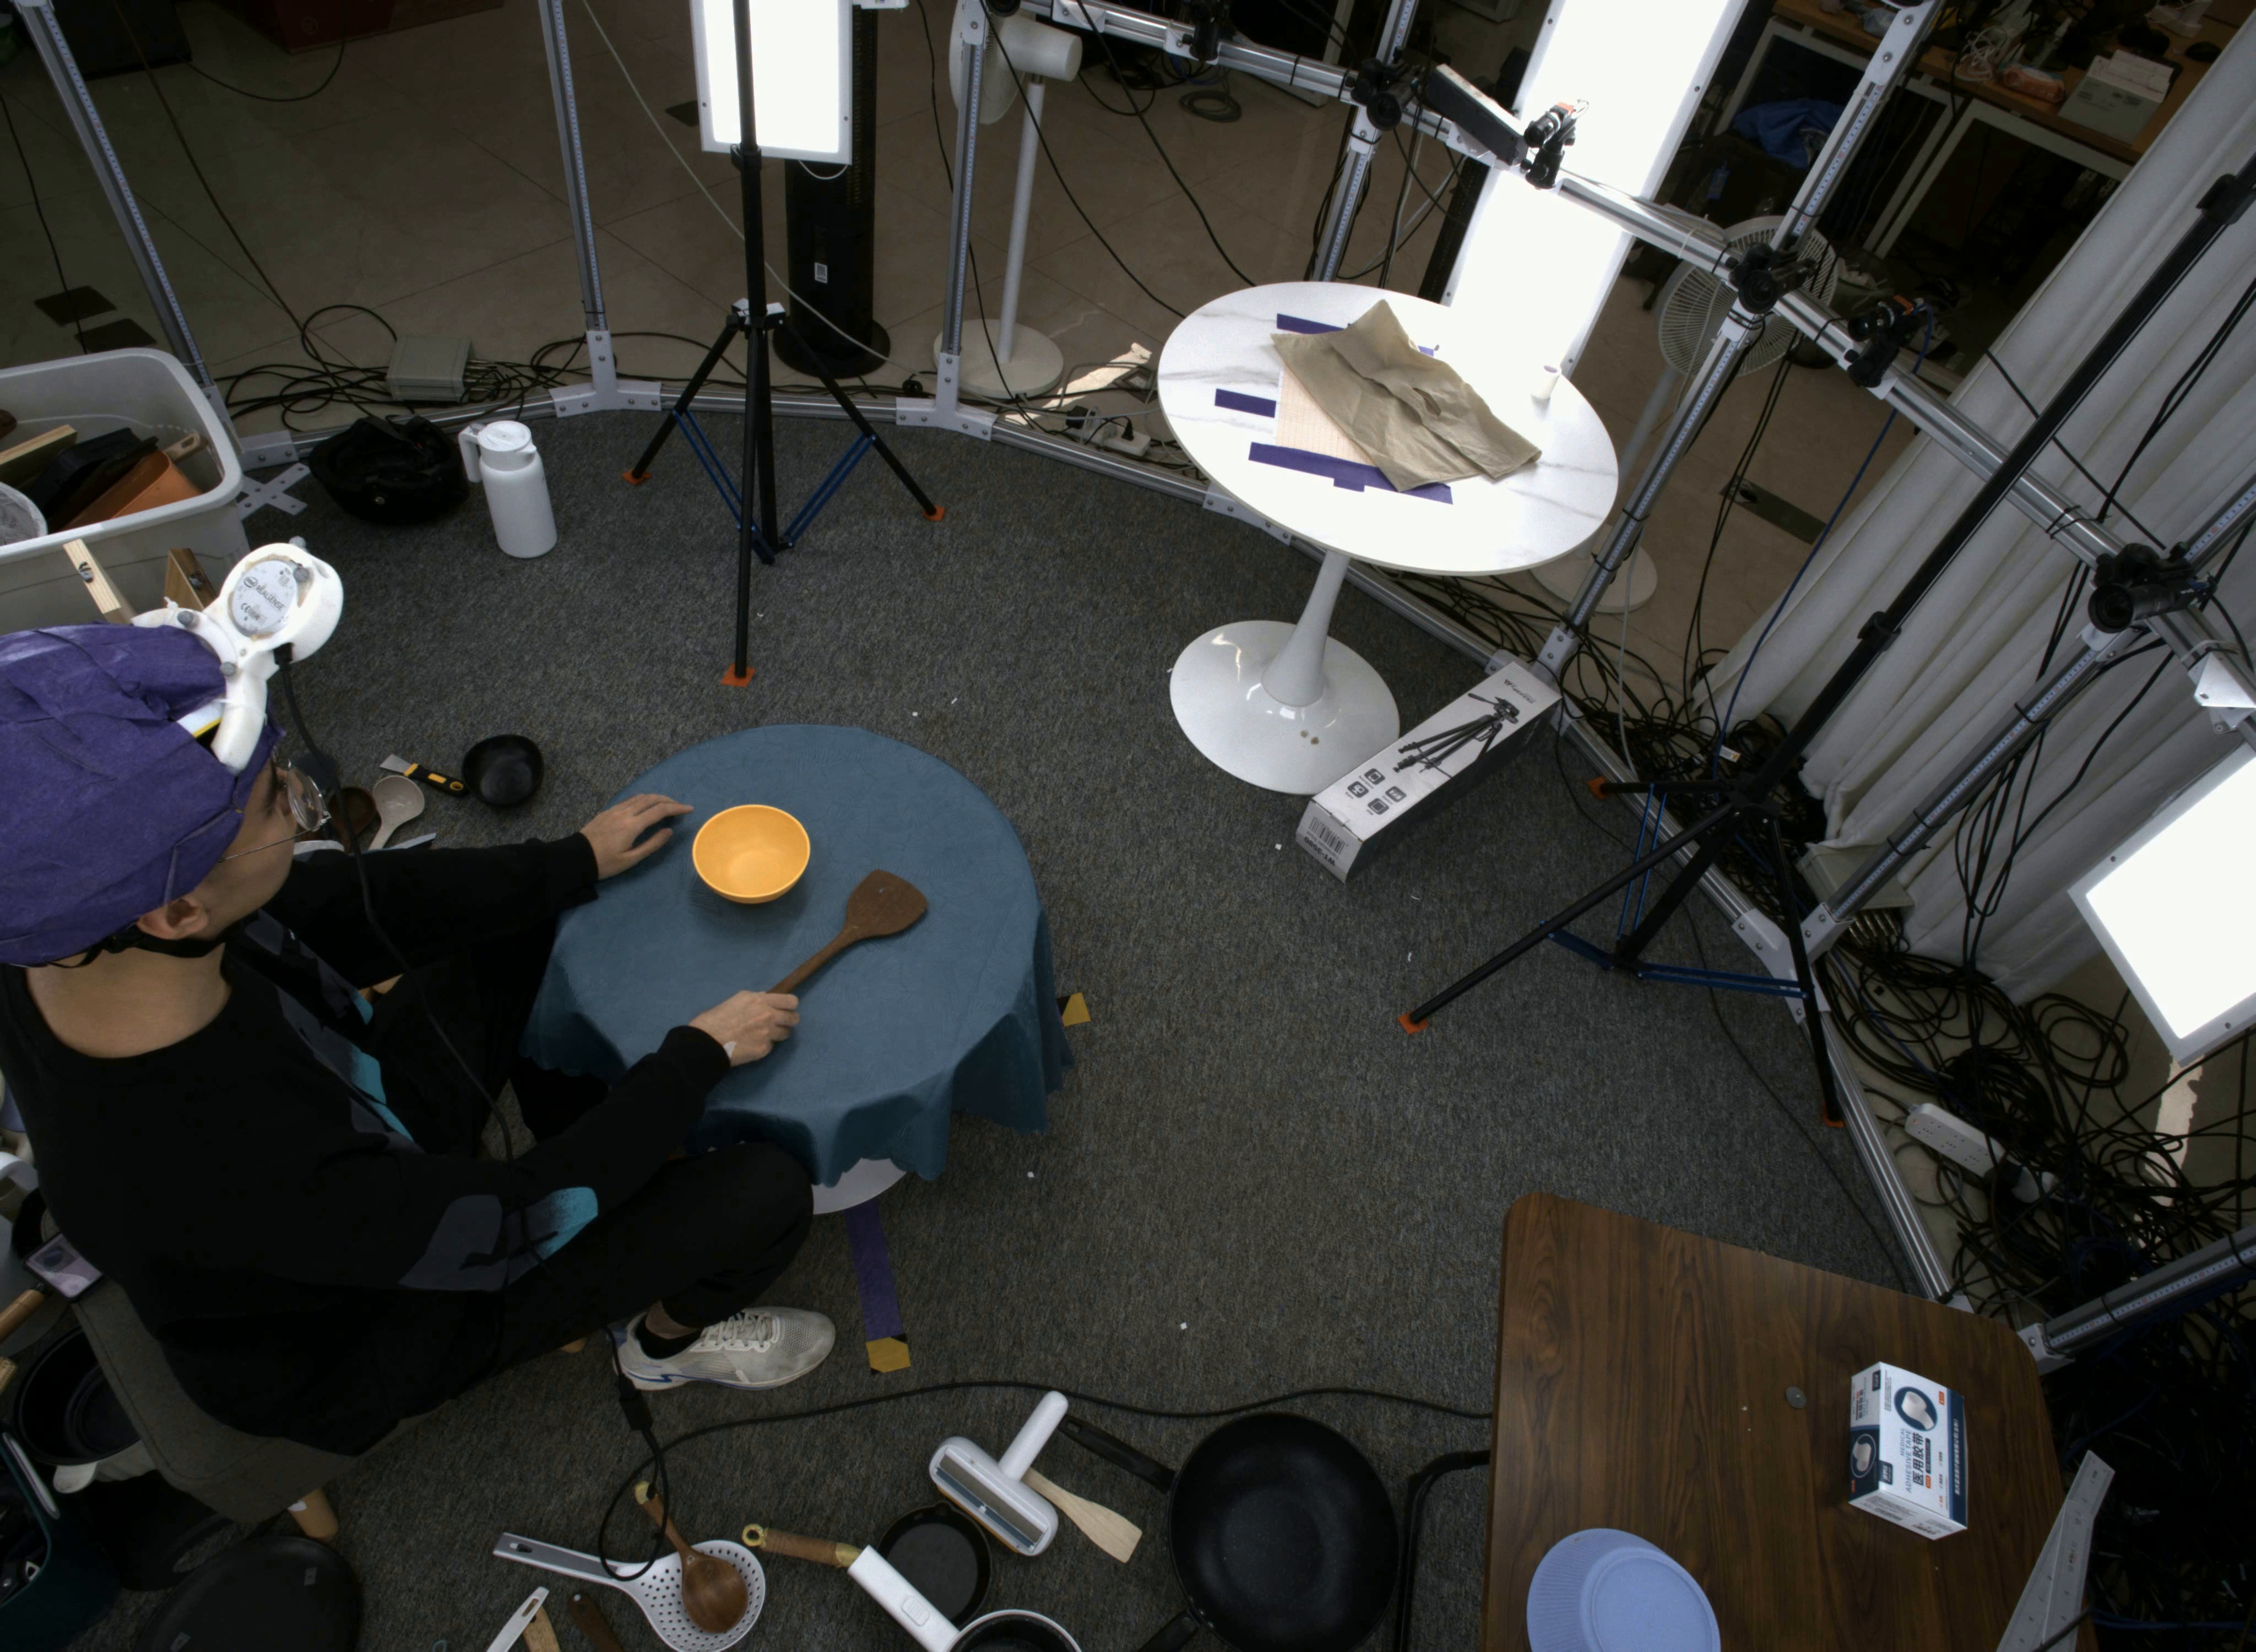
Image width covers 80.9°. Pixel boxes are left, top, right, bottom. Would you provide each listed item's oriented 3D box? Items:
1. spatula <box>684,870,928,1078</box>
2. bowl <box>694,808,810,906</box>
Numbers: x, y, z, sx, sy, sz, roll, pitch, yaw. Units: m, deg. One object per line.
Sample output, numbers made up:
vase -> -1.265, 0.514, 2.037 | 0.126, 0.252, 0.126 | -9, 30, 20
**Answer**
spatula -> -0.393, 0.176, 1.582 | 0.094, 0.016, 0.386 | 34, 48, 14
bowl -> -0.474, 0.049, 1.645 | 0.144, 0.061, 0.142 | 6, 51, -6
